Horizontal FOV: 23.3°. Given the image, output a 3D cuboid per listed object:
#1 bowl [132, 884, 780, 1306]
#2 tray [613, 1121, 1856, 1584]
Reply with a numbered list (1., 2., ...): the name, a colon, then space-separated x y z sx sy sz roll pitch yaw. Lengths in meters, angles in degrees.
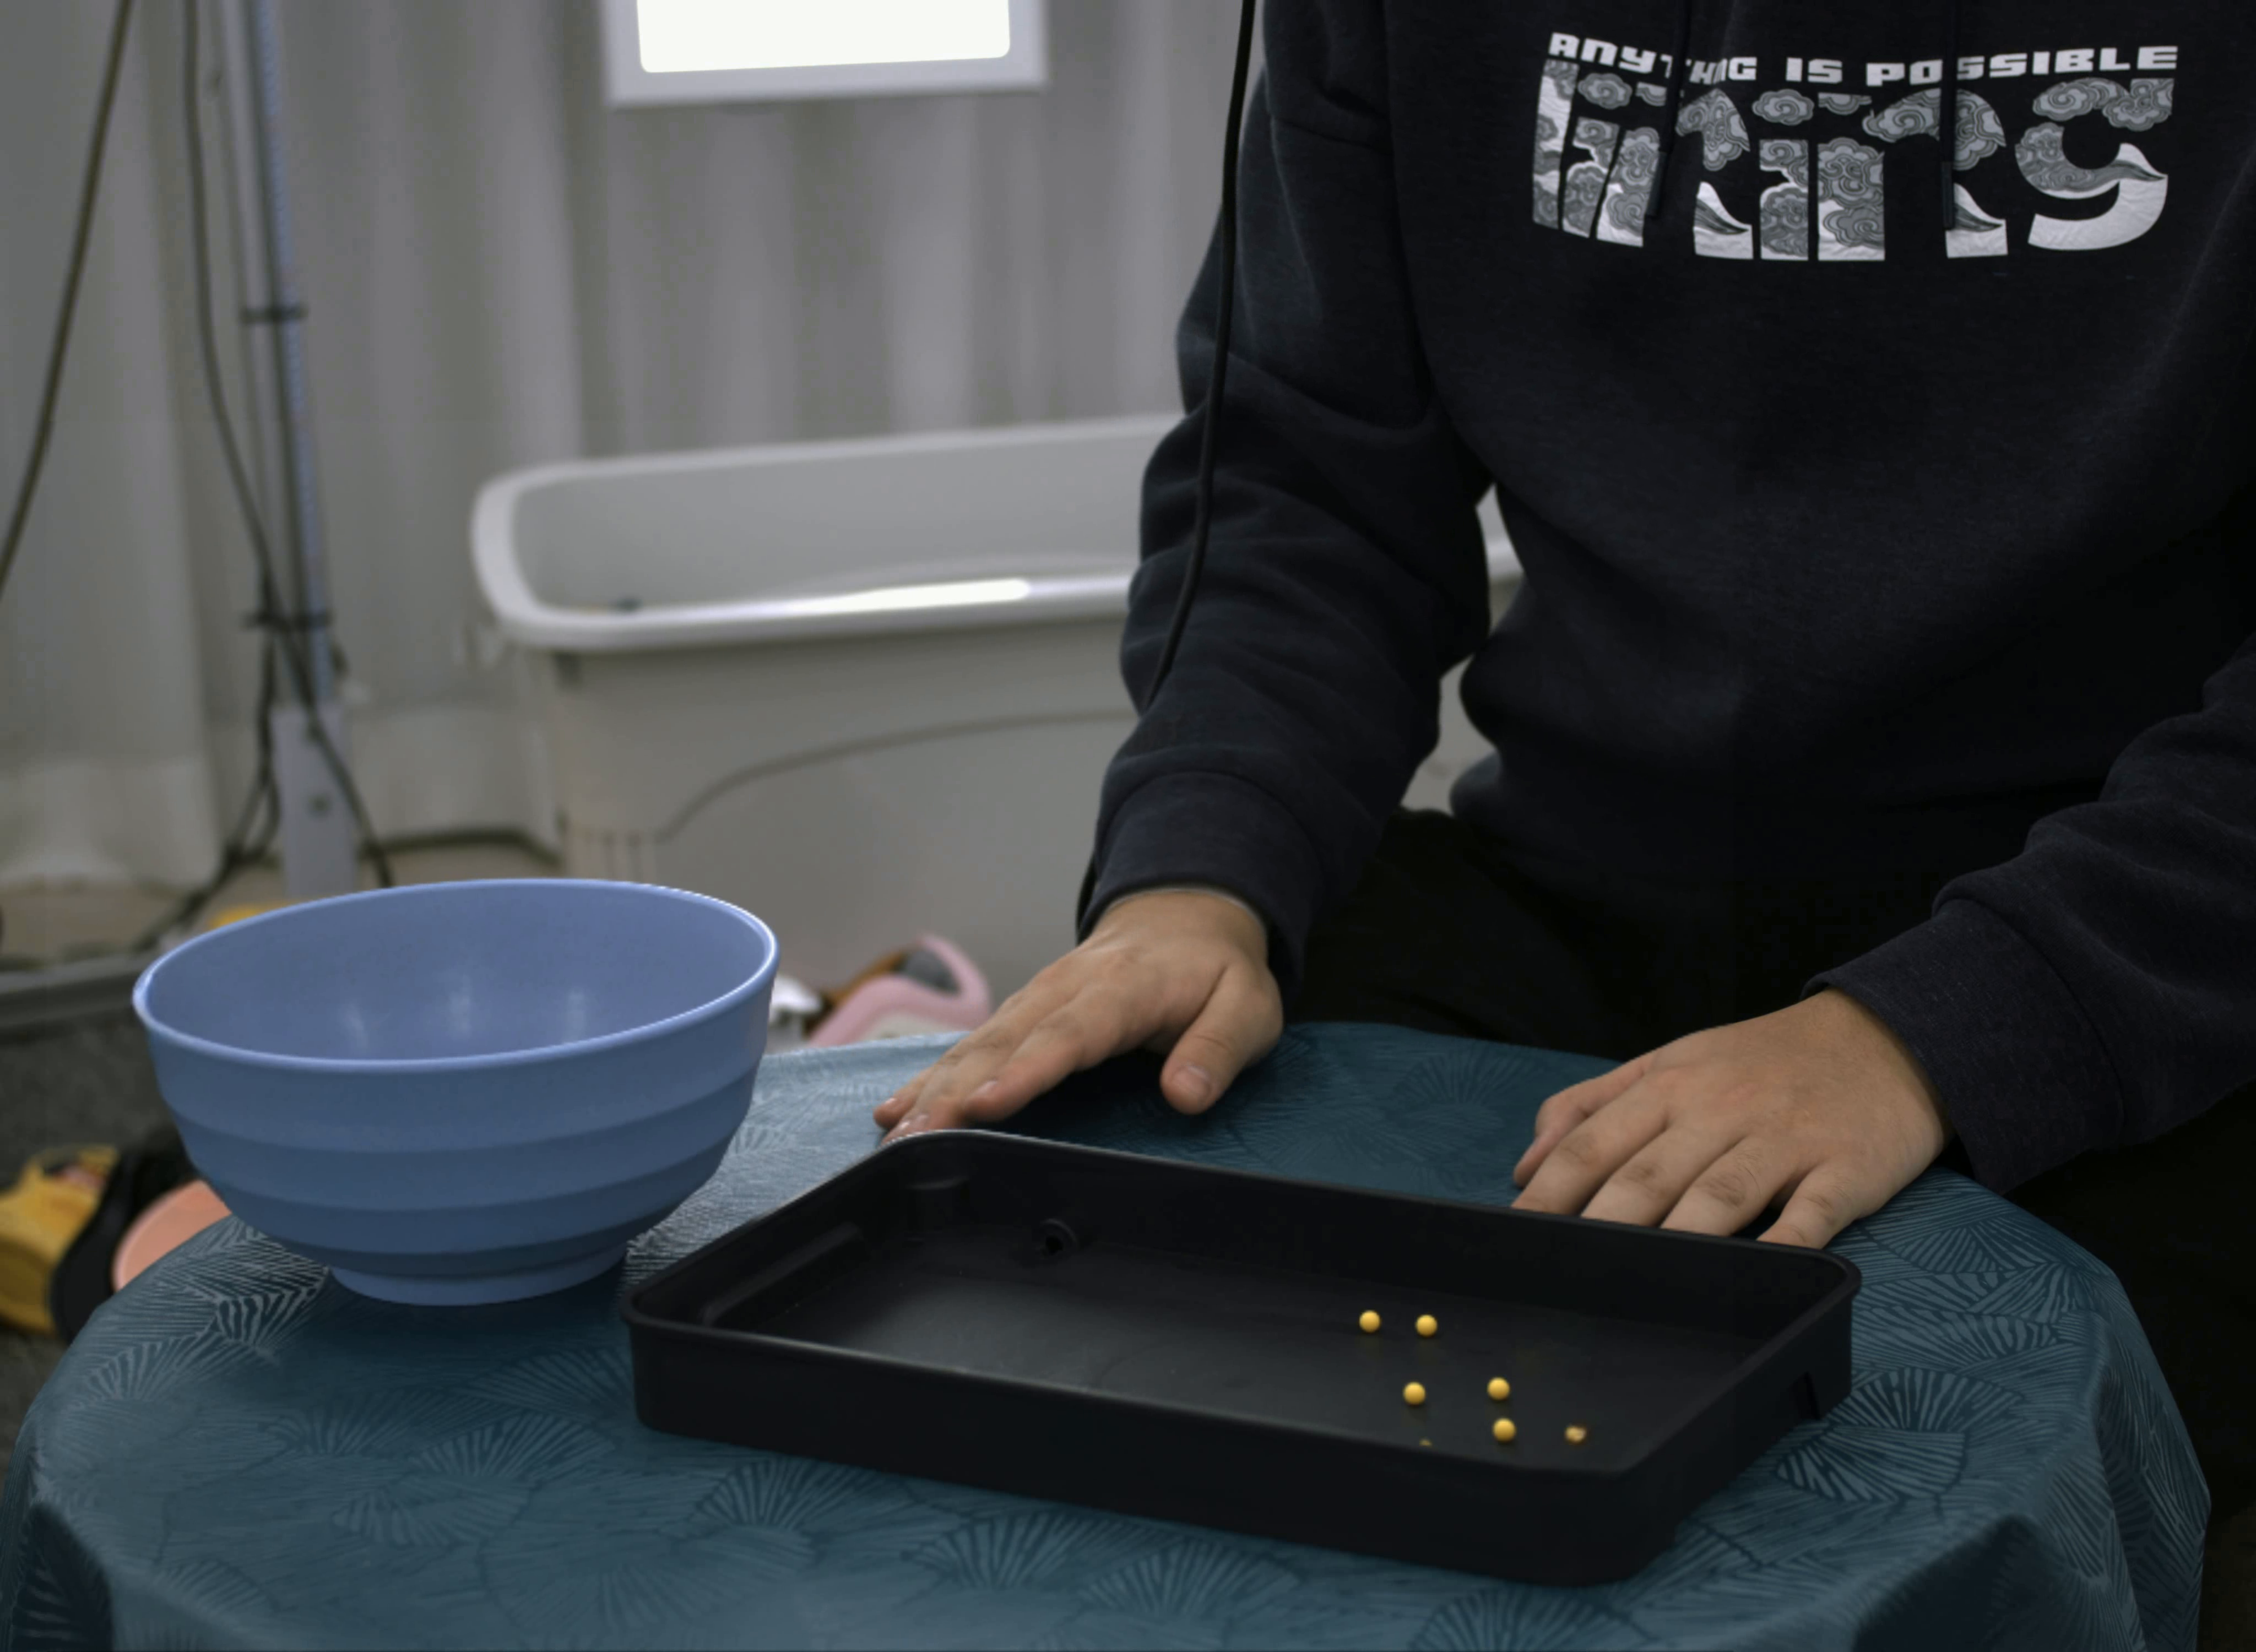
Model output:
1. bowl: -0.201 0.087 1.673 0.196 0.095 0.198 -3 14 1
2. tray: 0.029 0.143 1.533 0.319 0.037 0.184 6 17 29
